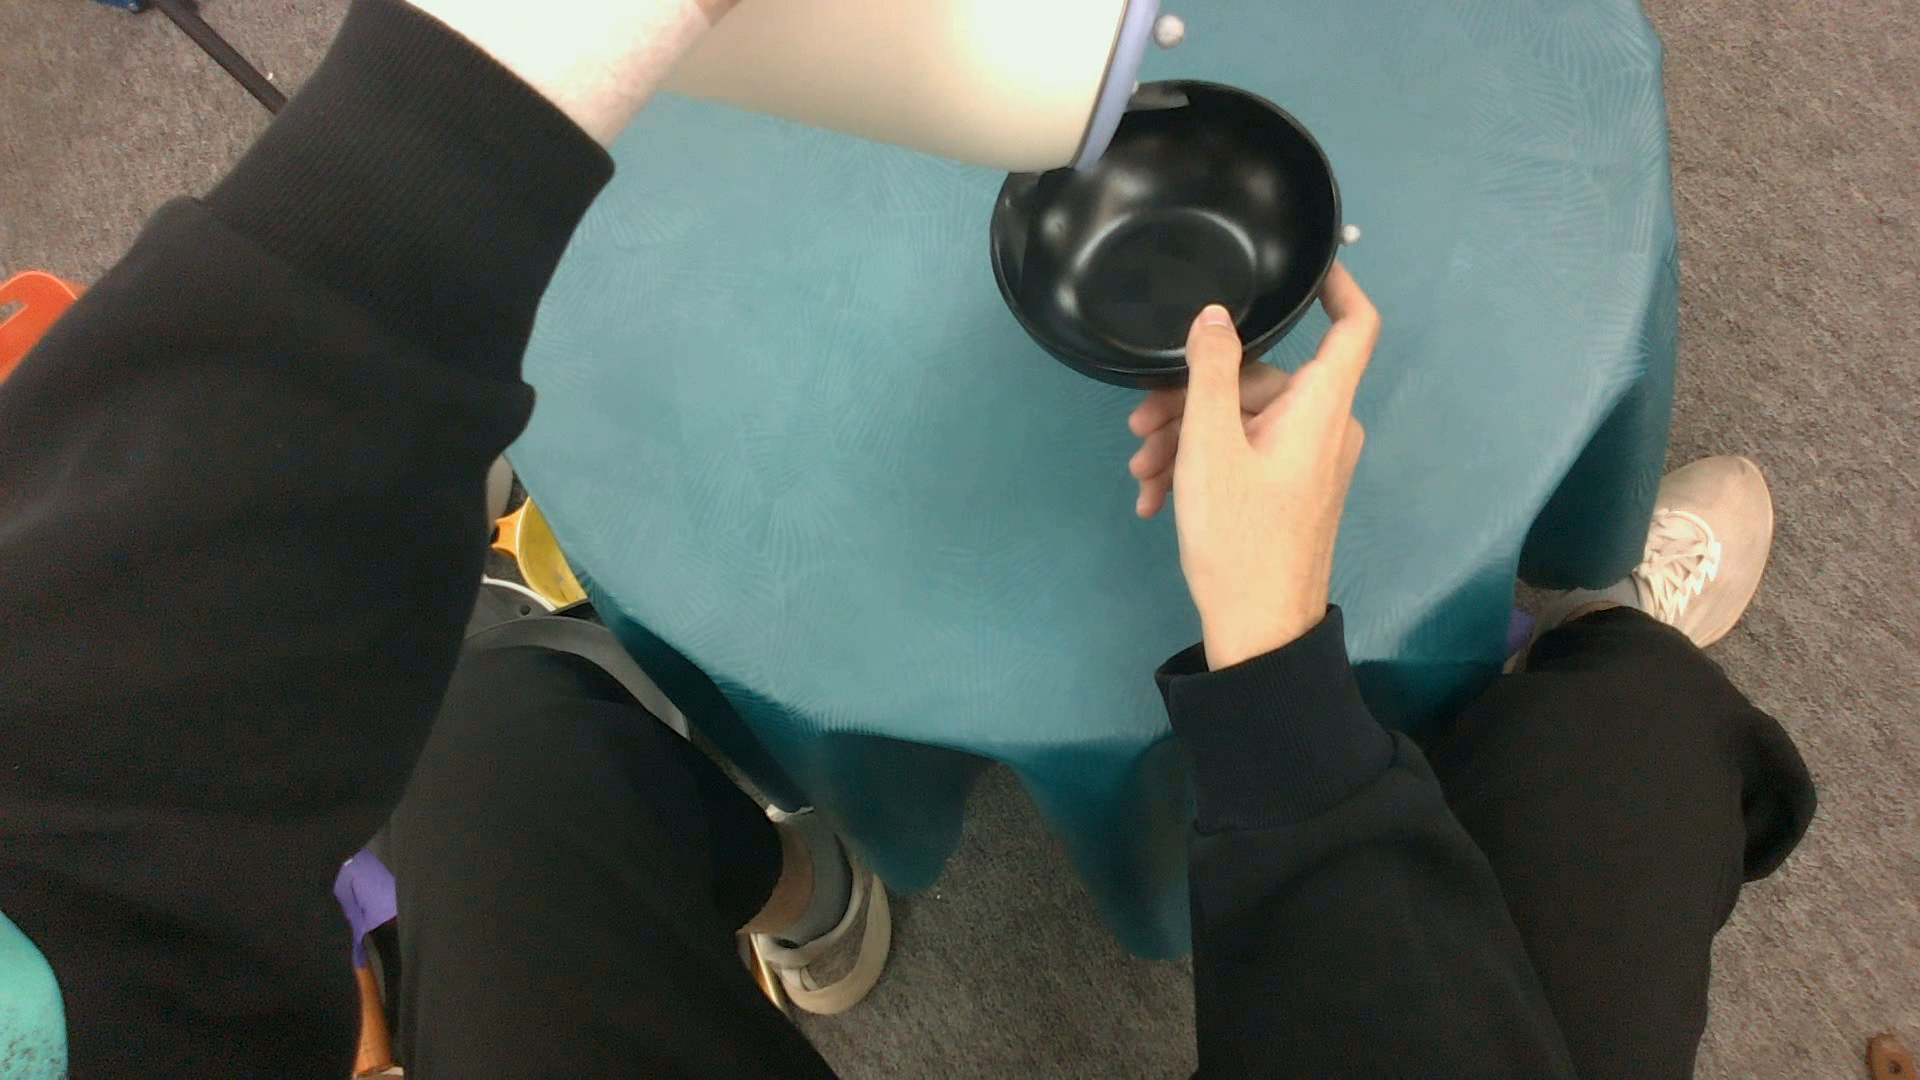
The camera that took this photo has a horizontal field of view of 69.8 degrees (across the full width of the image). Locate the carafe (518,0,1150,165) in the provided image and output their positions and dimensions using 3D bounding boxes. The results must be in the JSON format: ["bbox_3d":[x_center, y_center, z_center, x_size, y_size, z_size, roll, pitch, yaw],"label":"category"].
[{"bbox_3d":[-0.030,-0.195,0.389,0.182,0.191,0.132,11,82,-3],"label":"carafe"}]

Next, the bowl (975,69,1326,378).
[{"bbox_3d":[0.079,-0.123,0.569,0.140,0.049,0.140,-4,69,10],"label":"bowl"}]
